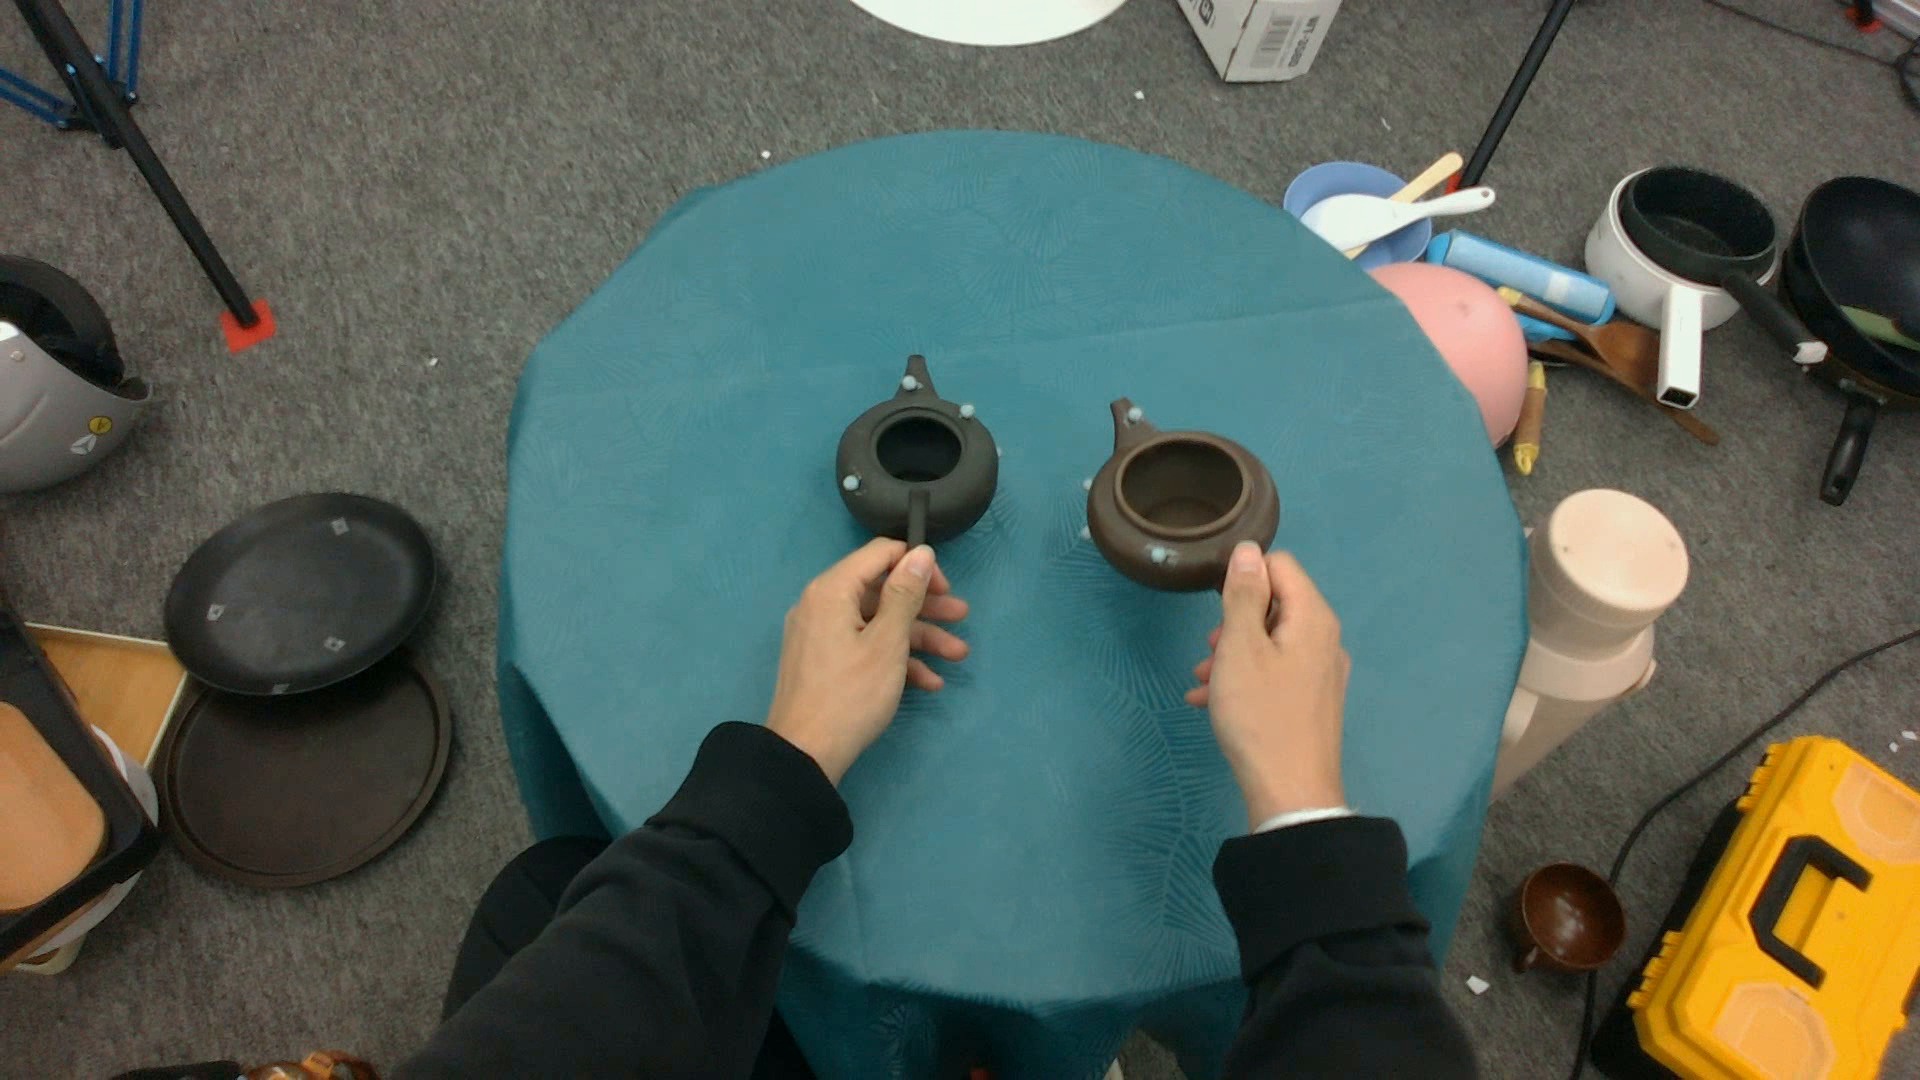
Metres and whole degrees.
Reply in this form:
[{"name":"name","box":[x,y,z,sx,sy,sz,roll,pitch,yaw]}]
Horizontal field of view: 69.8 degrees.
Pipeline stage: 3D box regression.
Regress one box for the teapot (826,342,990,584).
[{"name":"teapot","box":[-0.029,-0.042,0.774,0.092,0.064,0.155,1,55,-1]}]

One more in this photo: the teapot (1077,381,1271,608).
[{"name":"teapot","box":[0.116,-0.023,0.731,0.103,0.053,0.154,-29,53,-11]}]
